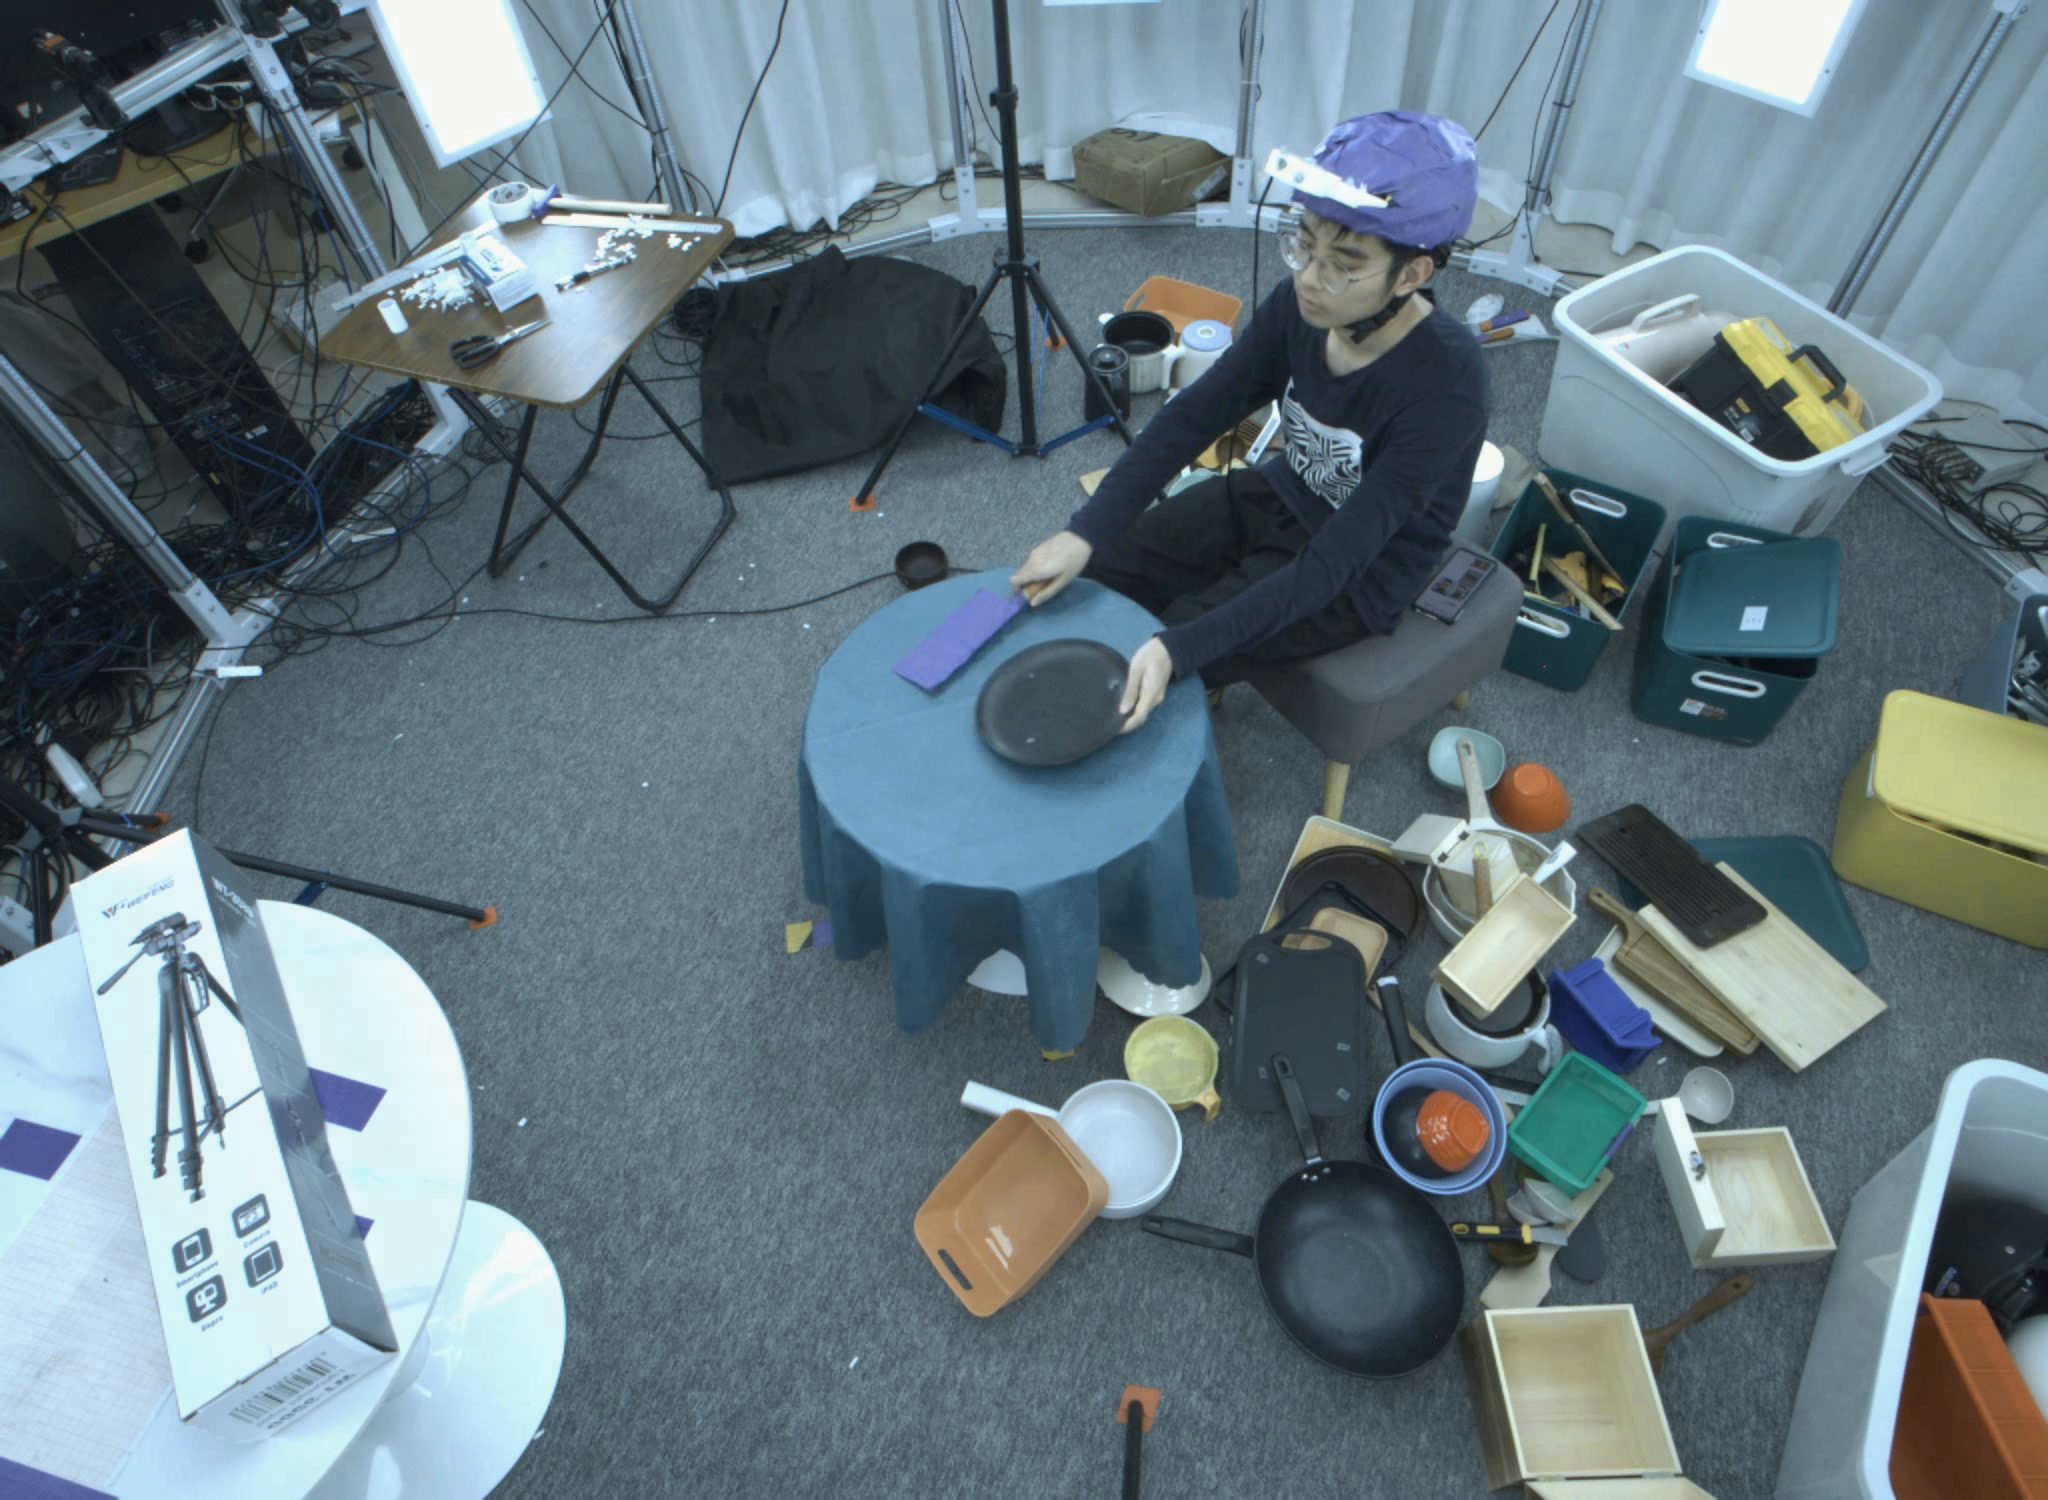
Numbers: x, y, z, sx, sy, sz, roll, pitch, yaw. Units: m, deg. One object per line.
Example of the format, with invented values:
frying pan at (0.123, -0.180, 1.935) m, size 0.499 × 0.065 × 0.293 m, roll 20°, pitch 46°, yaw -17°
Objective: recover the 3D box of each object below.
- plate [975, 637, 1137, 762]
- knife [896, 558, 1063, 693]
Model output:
plate at (0.047, -0.072, 1.809) m, size 0.243 × 0.024 × 0.242 m, roll -8°, pitch 50°, yaw 10°
knife at (-0.071, -0.210, 1.922) m, size 0.102 × 0.032 × 0.317 m, roll 31°, pitch 62°, yaw 28°
